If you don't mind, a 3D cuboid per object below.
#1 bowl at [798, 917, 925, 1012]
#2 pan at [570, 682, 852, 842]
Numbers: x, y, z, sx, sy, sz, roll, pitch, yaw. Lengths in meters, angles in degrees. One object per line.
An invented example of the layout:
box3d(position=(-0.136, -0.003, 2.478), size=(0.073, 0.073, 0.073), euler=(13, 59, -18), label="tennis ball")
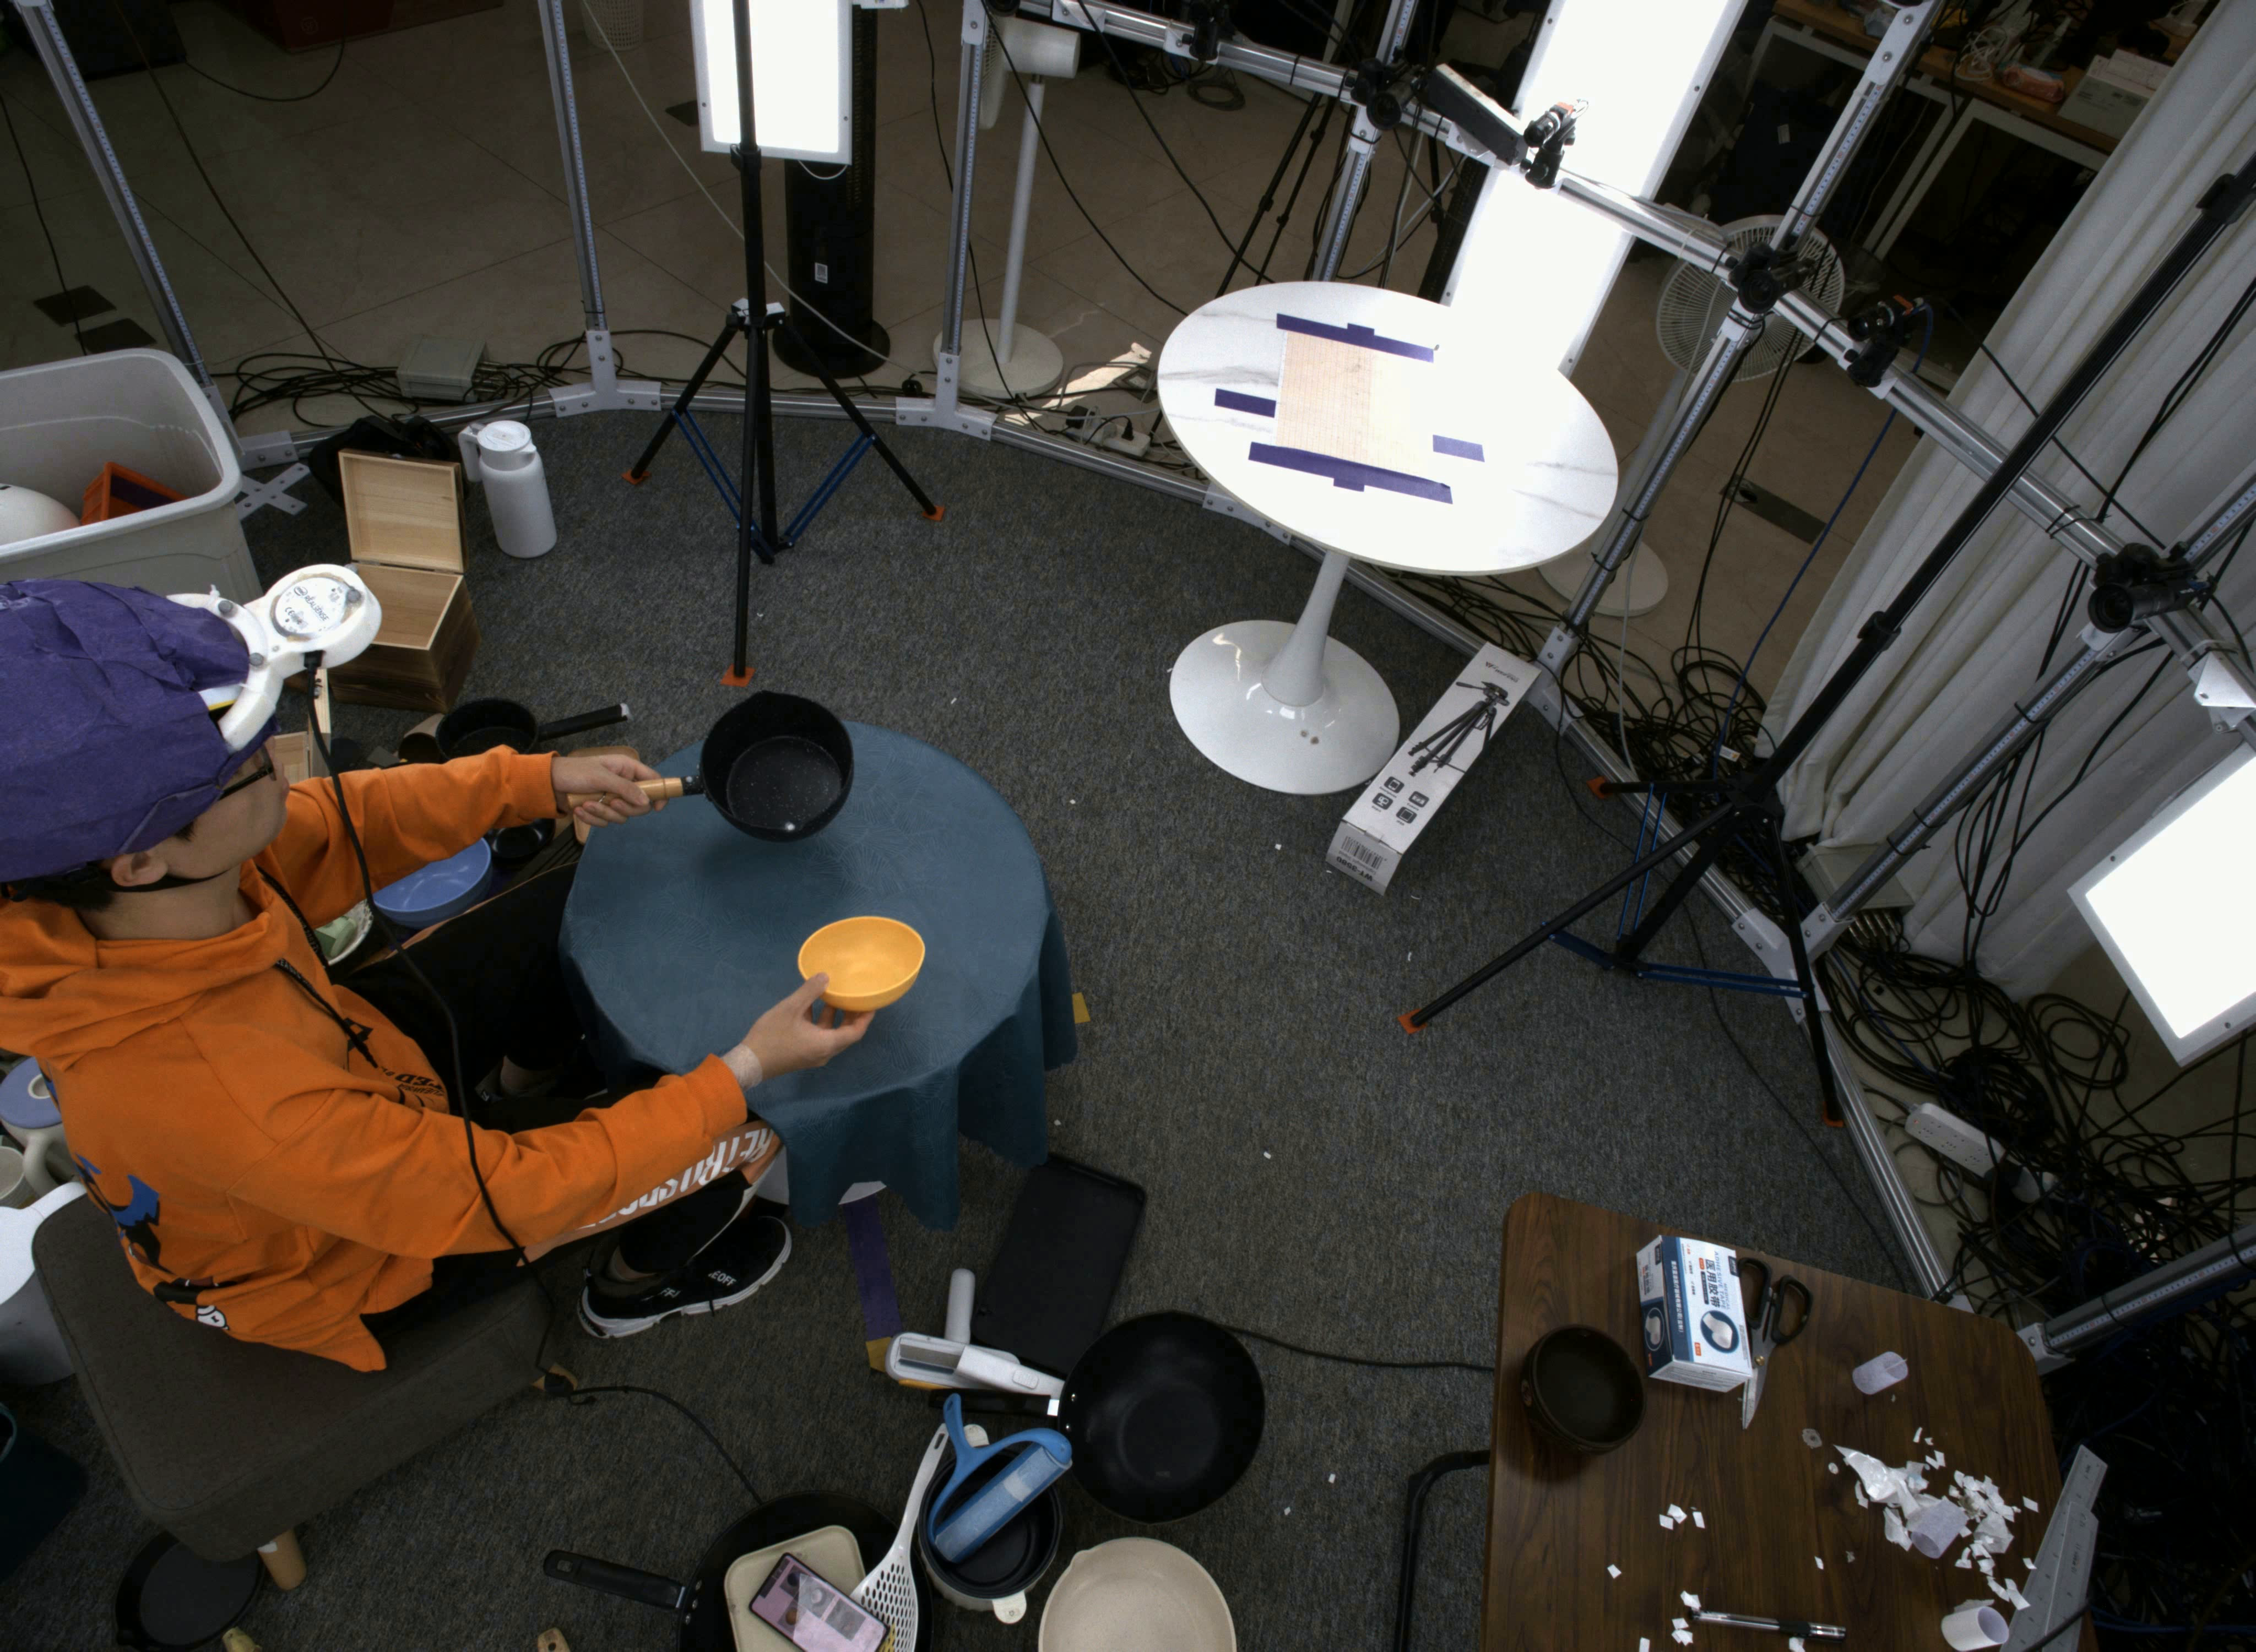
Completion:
box3d(position=(-0.302, 0.167, 1.488), size=(0.144, 0.062, 0.142), euler=(2, 33, 0), label="bowl")
box3d(position=(-0.505, -0.053, 1.566), size=(0.343, 0.109, 0.205), euler=(-15, 72, -17), label="pan")
